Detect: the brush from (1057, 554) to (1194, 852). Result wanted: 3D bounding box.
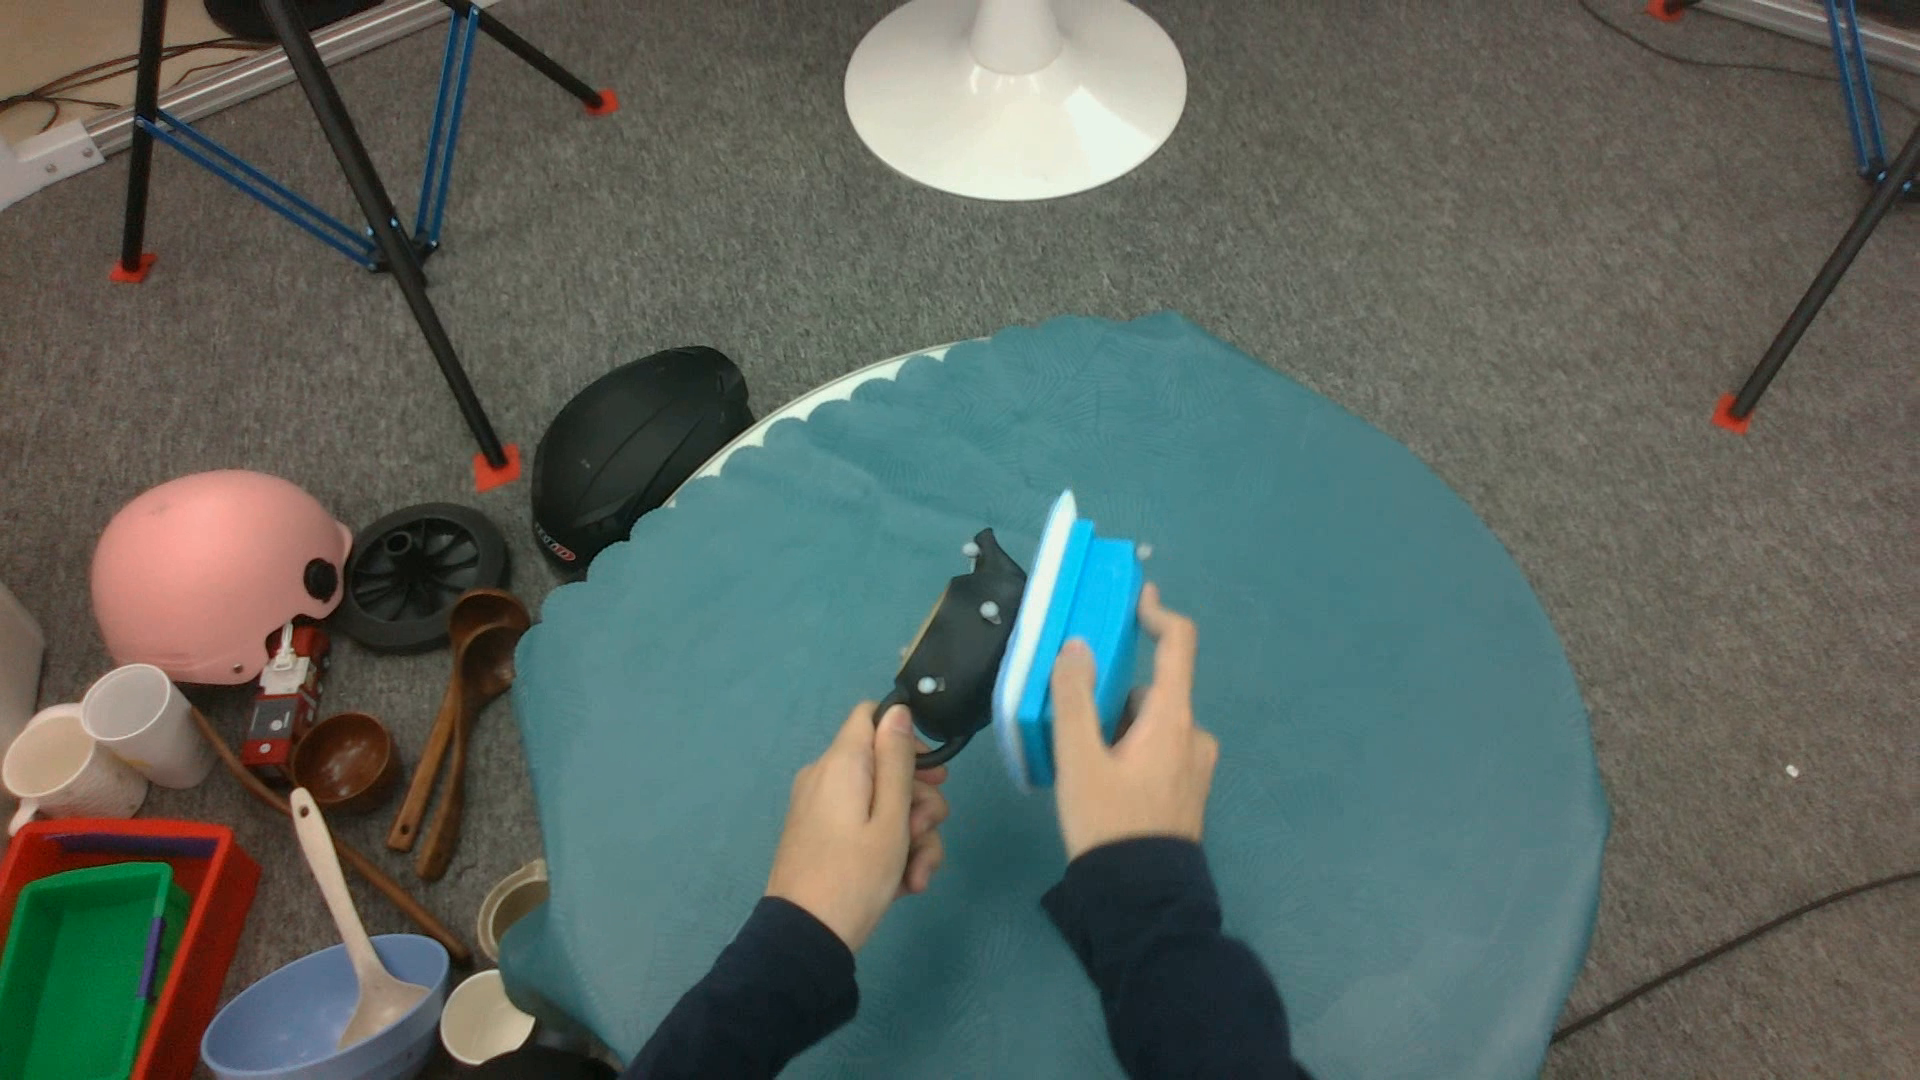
[{"bbox_3d":[0.085,0.078,0.685,0.056,0.084,0.144,-13,63,23],"label":"brush"}]

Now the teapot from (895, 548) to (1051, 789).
[{"bbox_3d":[0.012,0.067,0.693,0.053,0.090,0.134,21,63,9],"label":"teapot"}]
